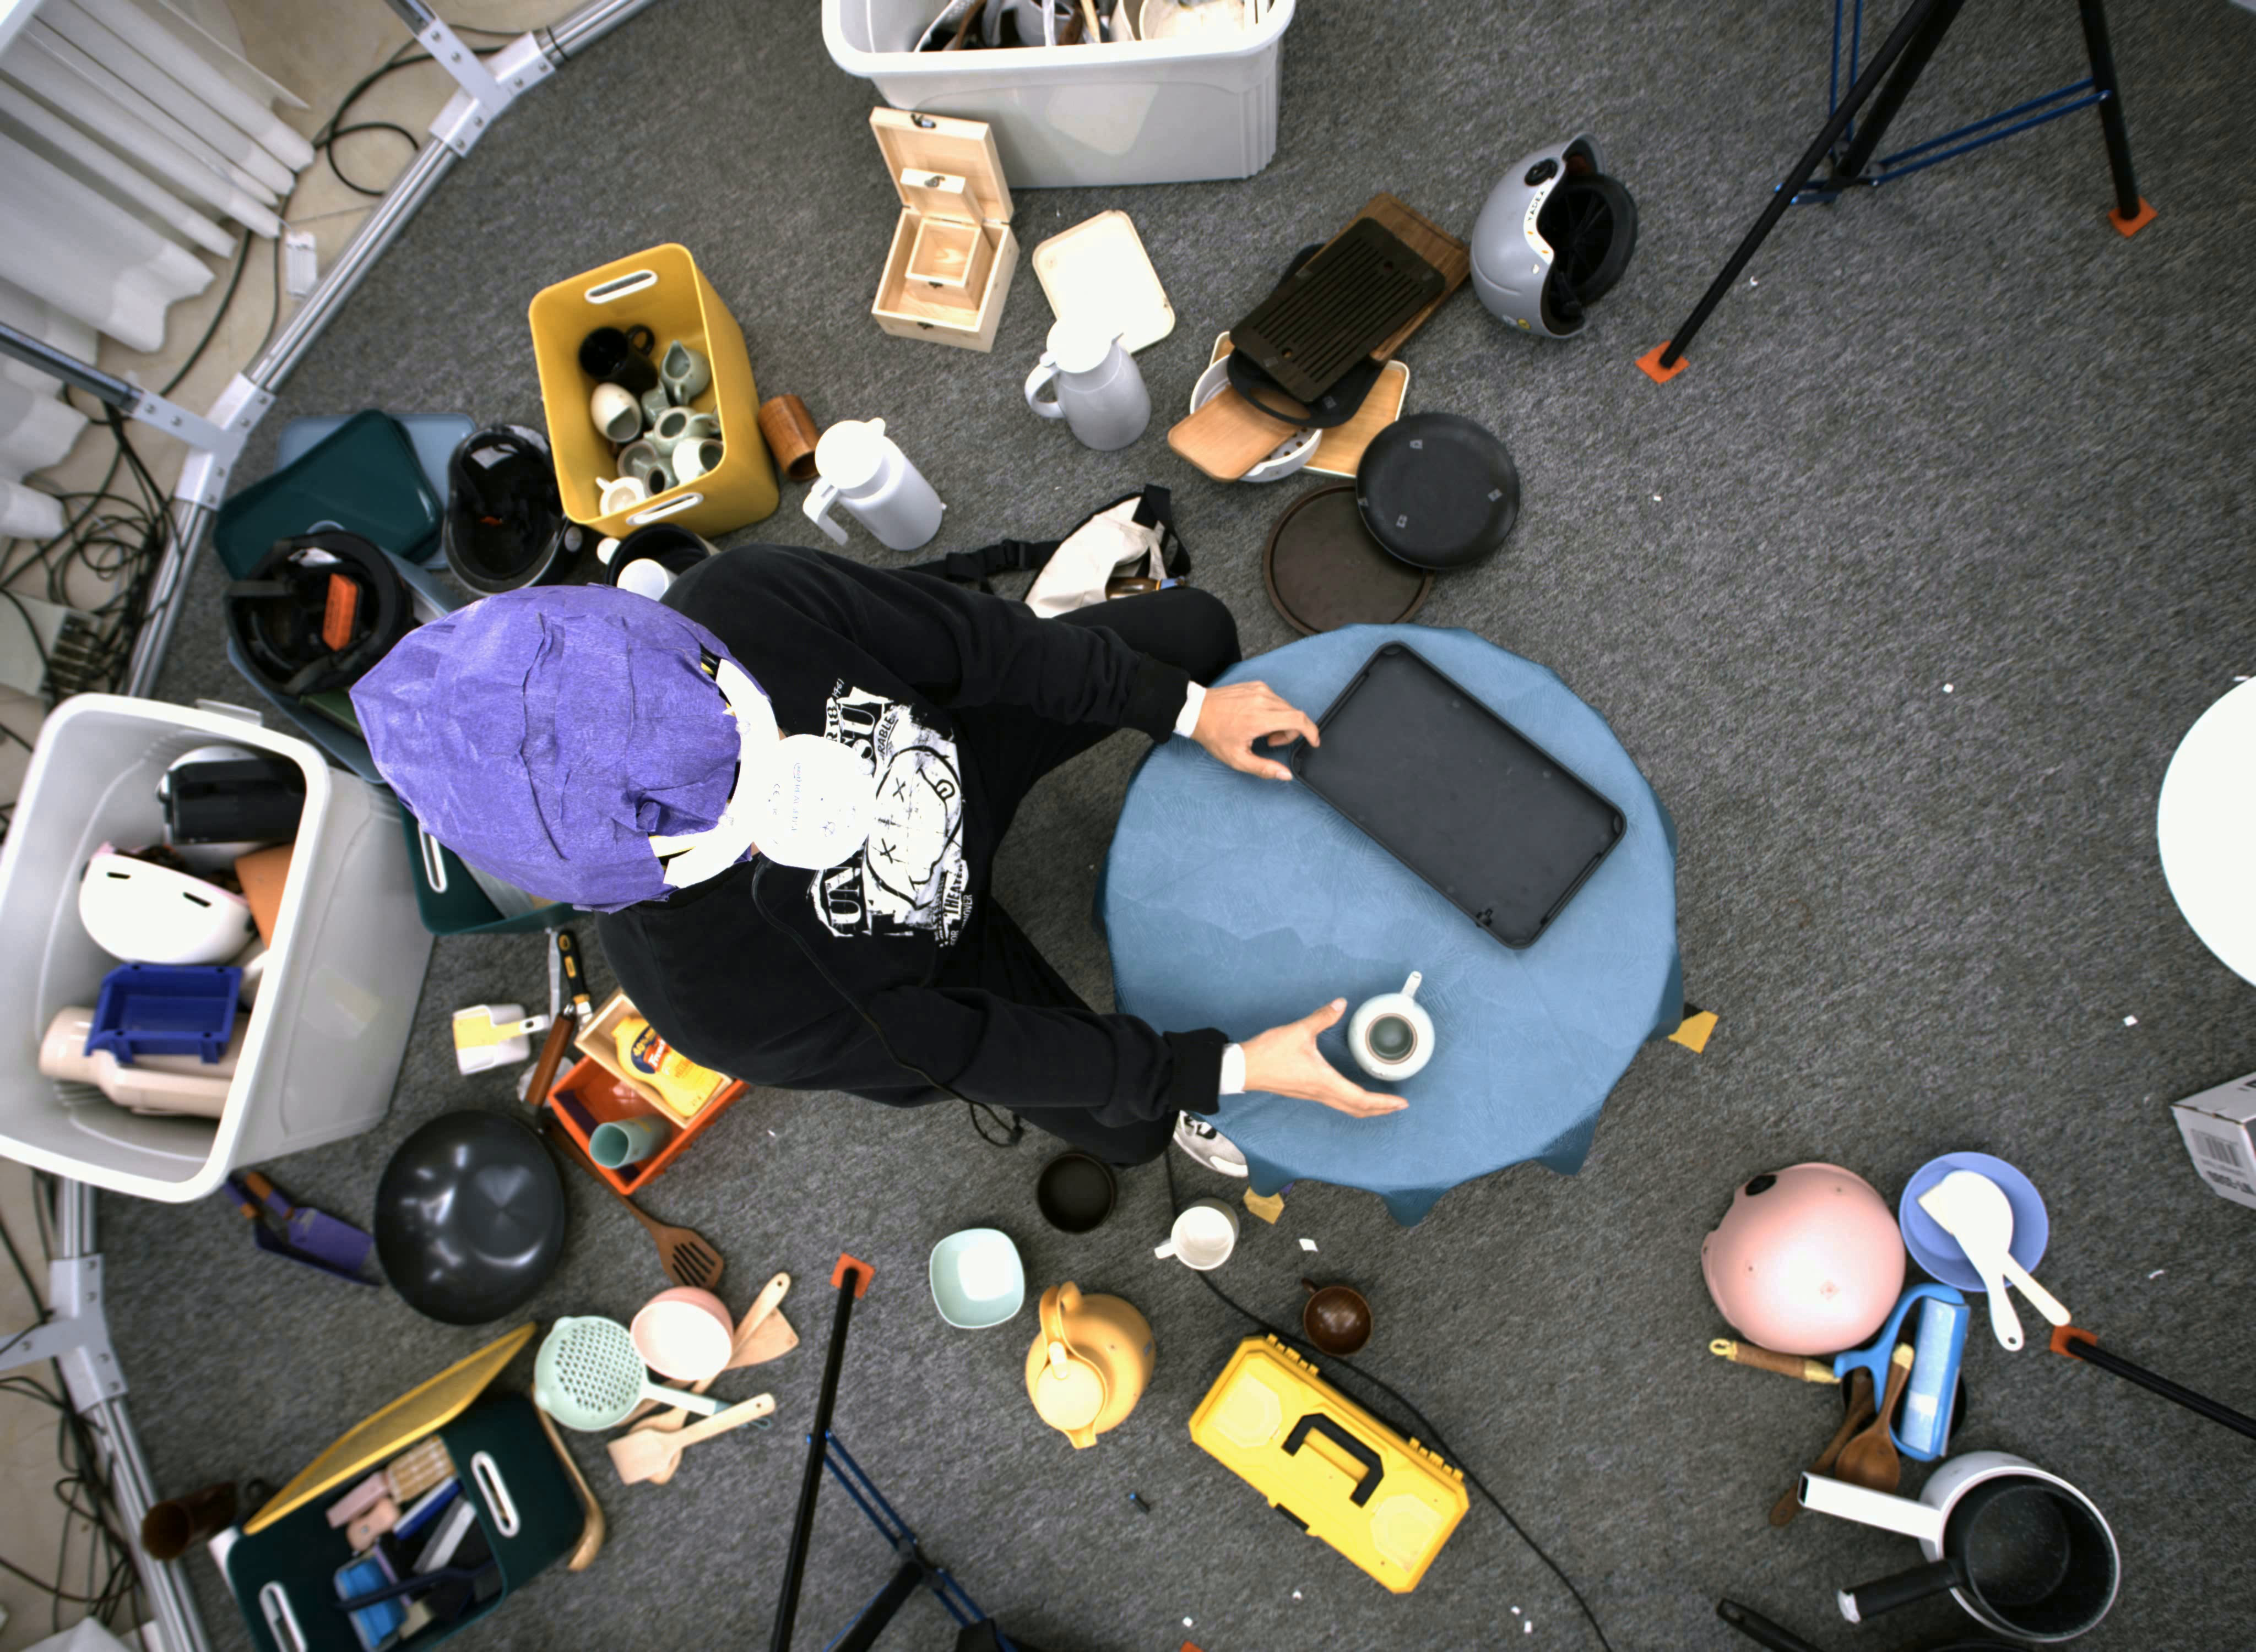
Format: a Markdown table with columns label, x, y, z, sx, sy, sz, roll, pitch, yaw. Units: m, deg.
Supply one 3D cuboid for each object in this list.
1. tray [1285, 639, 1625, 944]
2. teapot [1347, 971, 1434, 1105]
| label | x | y | z | sx | sy | sz | roll | pitch | yaw |
| --- | --- | --- | --- | --- | --- | --- | --- | --- | --- |
| tray | 0.337 | -0.039 | 1.435 | 0.317 | 0.037 | 0.185 | 38 | 95 | 10 |
| teapot | 0.269 | 0.215 | 1.418 | 0.088 | 0.075 | 0.143 | 23 | 89 | 11 |
